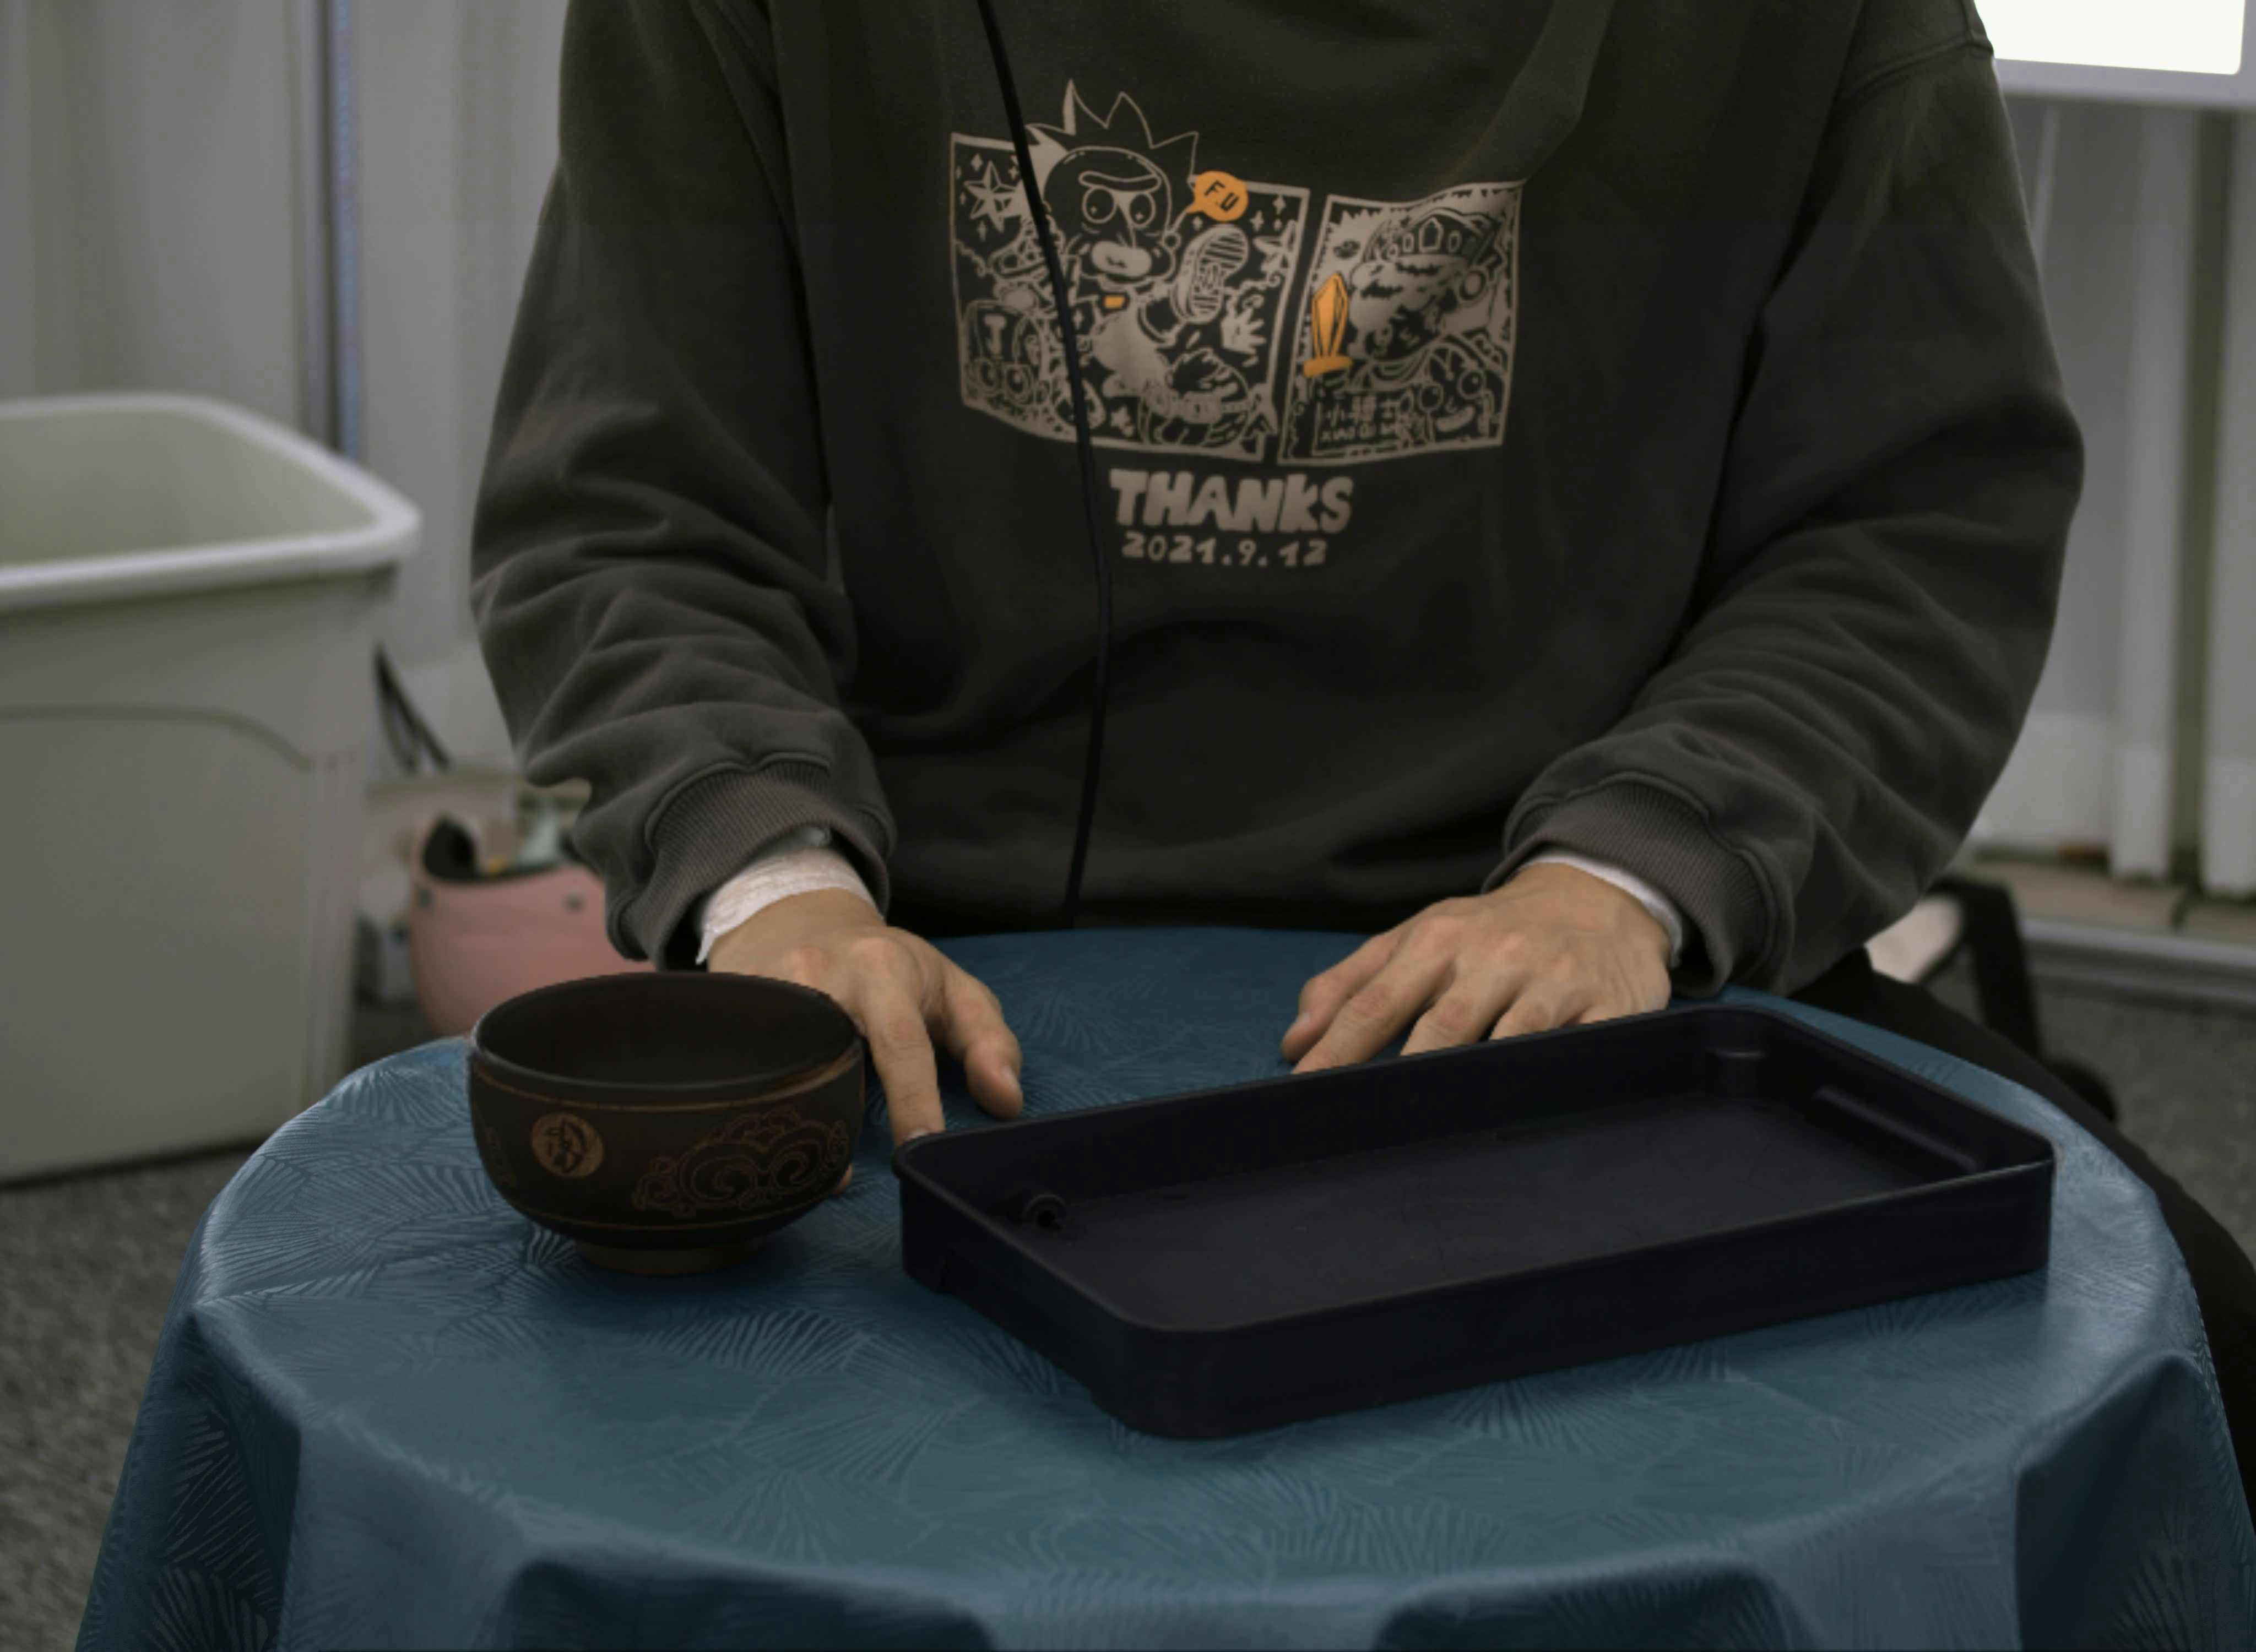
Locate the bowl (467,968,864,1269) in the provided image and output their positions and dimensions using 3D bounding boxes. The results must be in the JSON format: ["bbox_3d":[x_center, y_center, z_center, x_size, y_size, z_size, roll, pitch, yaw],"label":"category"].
[{"bbox_3d":[-0.137,0.090,1.570,0.117,0.070,0.117,1,14,0],"label":"bowl"}]

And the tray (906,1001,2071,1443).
[{"bbox_3d":[0.108,0.112,1.570,0.319,0.037,0.182,-9,17,-30],"label":"tray"}]
